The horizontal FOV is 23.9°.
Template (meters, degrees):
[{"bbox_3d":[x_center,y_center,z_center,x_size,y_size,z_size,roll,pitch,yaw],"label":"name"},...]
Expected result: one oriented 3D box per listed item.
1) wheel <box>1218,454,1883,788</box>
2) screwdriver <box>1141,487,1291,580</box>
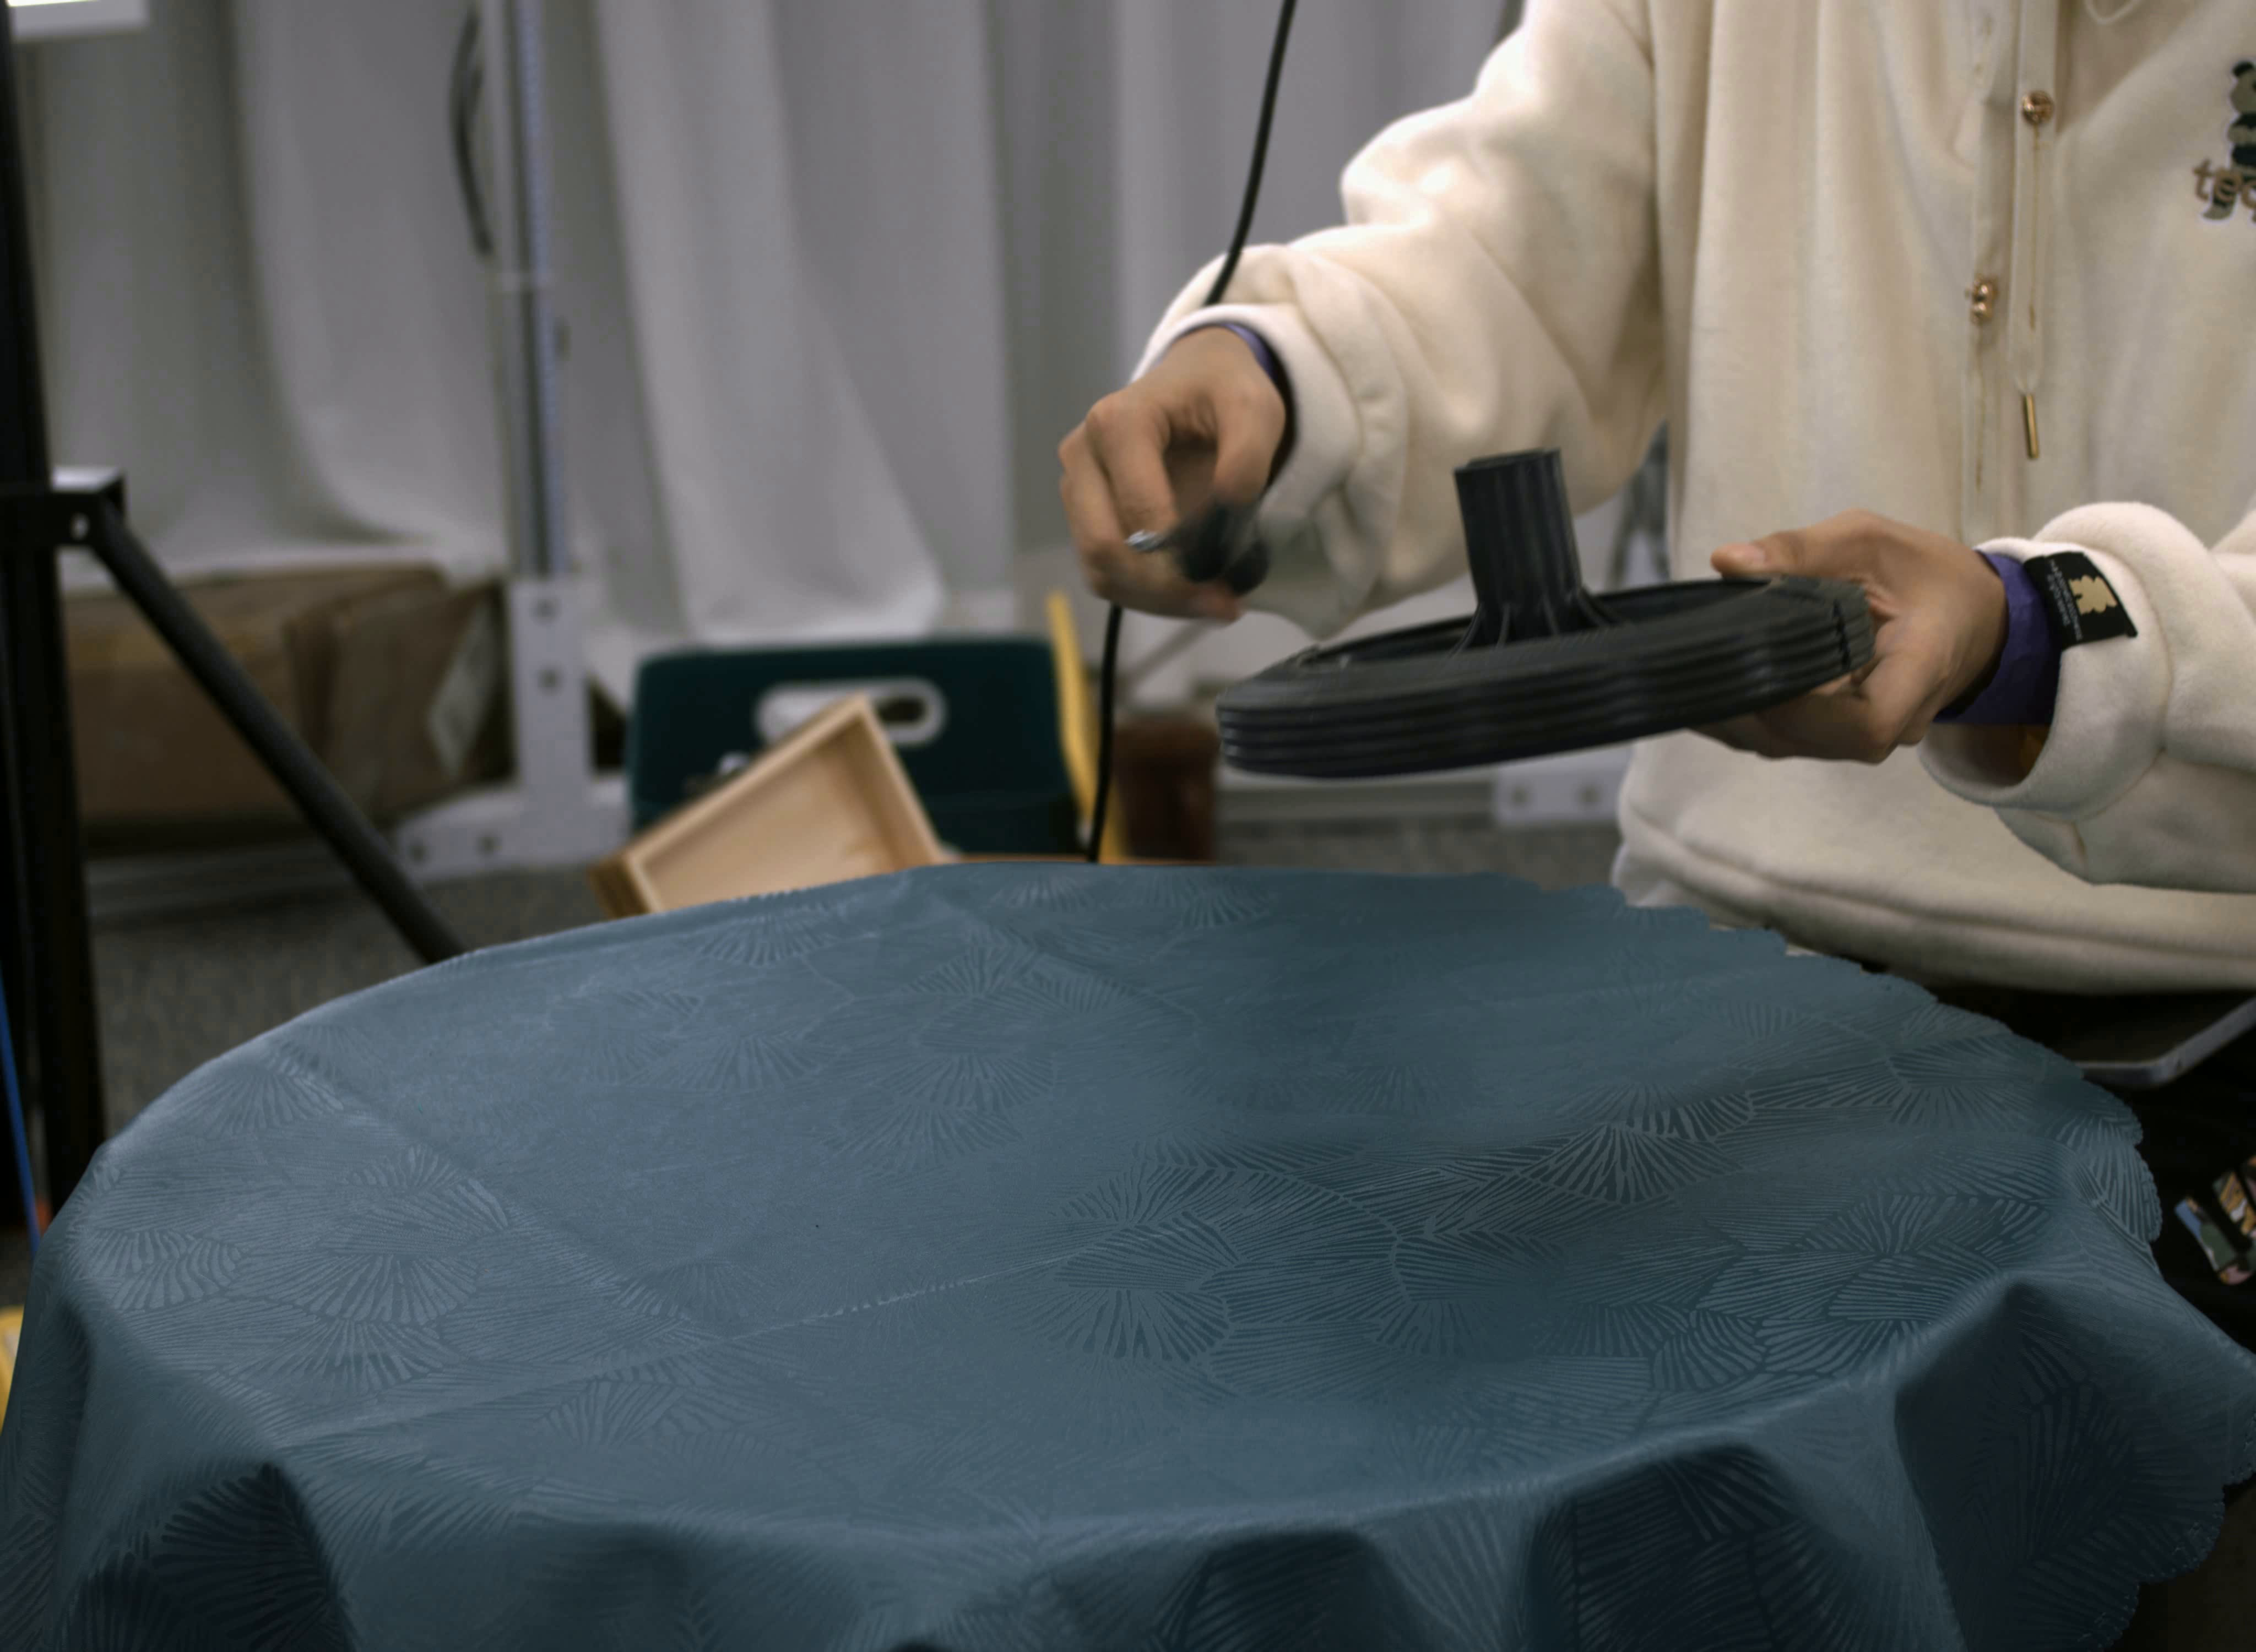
[{"bbox_3d":[0.114,-0.062,1.496,0.186,0.079,0.190,-14,6,-21],"label":"wheel"},{"bbox_3d":[0.025,-0.095,1.664,0.031,0.031,0.194,1,0,11],"label":"screwdriver"}]
